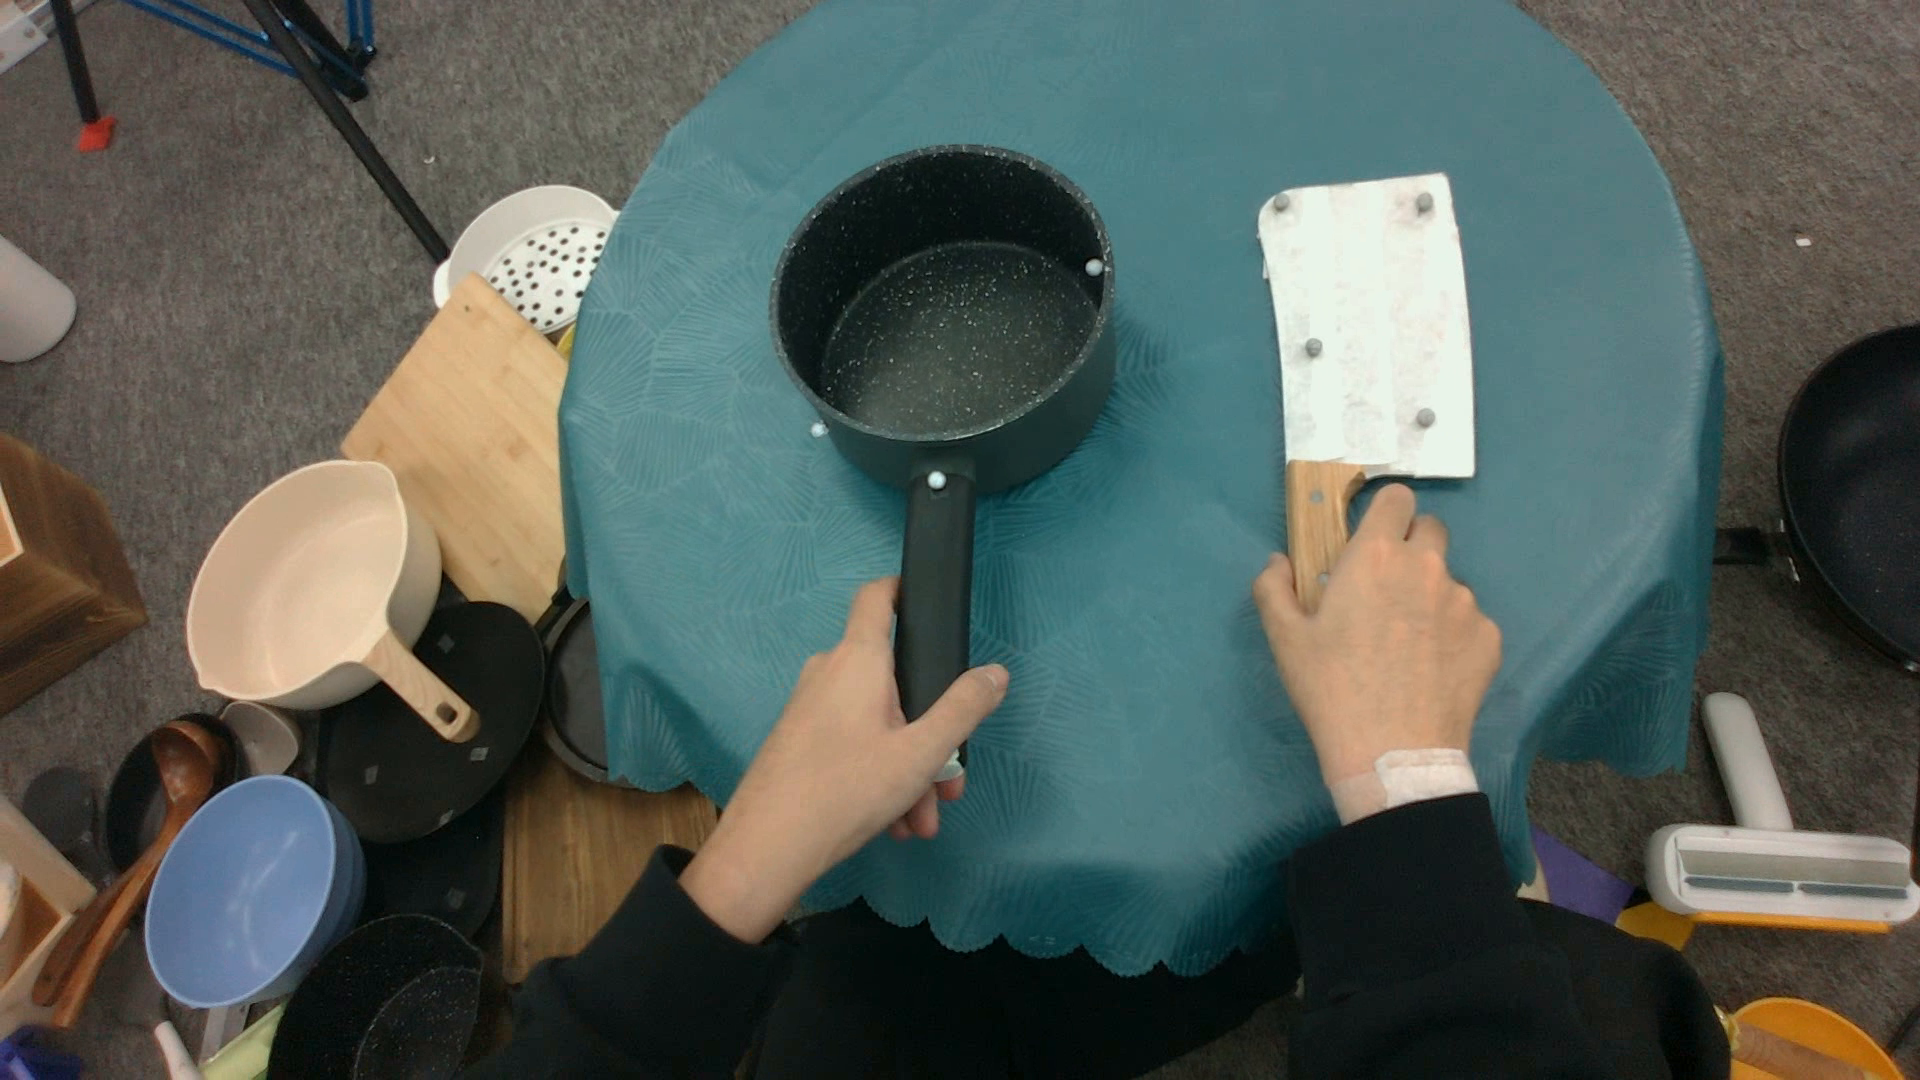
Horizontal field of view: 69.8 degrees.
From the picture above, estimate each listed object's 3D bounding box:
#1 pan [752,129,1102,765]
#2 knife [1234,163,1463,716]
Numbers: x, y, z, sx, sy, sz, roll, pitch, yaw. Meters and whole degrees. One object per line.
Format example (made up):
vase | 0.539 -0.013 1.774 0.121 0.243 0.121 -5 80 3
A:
pan | -0.015 -0.045 0.663 0.172 0.086 0.330 -2 64 11
knife | 0.186 -0.064 0.674 0.114 0.021 0.316 3 62 11
